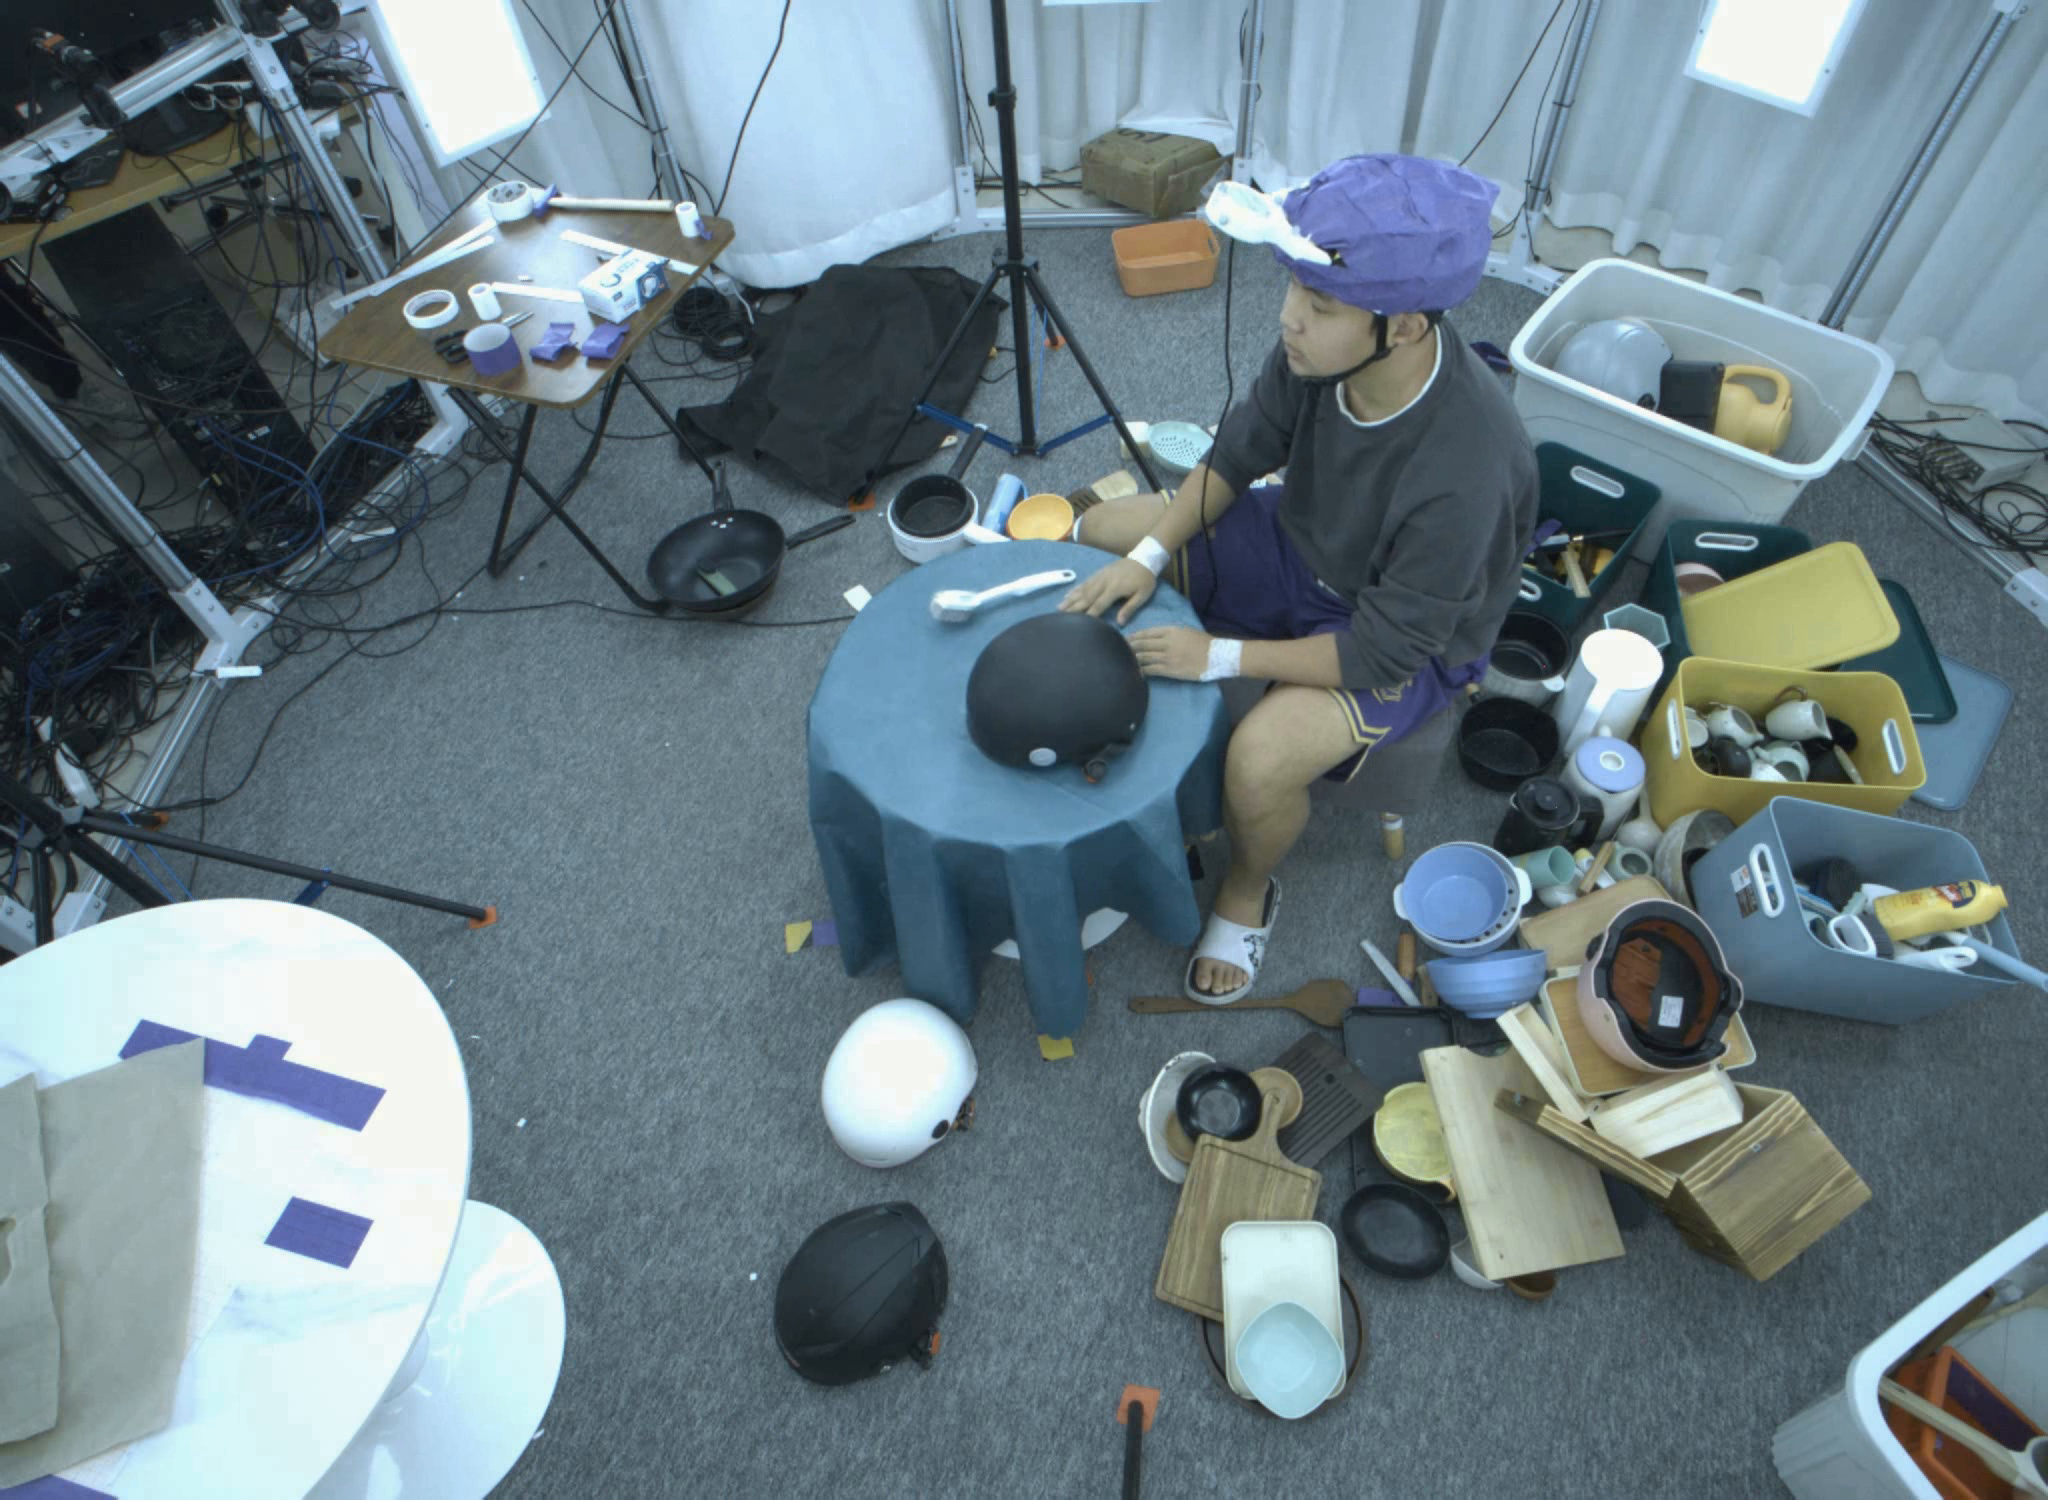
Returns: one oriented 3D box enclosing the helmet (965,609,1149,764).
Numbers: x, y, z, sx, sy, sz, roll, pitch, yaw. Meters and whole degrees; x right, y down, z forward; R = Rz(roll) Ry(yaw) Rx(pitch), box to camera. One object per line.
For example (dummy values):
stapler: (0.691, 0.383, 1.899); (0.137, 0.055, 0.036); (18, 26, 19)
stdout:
helmet: (0.042, -0.106, 1.767); (0.273, 0.169, 0.227); (-10, 53, -2)

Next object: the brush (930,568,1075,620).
brush: (-0.033, -0.247, 1.953); (0.247, 0.050, 0.034); (-14, 53, -24)
